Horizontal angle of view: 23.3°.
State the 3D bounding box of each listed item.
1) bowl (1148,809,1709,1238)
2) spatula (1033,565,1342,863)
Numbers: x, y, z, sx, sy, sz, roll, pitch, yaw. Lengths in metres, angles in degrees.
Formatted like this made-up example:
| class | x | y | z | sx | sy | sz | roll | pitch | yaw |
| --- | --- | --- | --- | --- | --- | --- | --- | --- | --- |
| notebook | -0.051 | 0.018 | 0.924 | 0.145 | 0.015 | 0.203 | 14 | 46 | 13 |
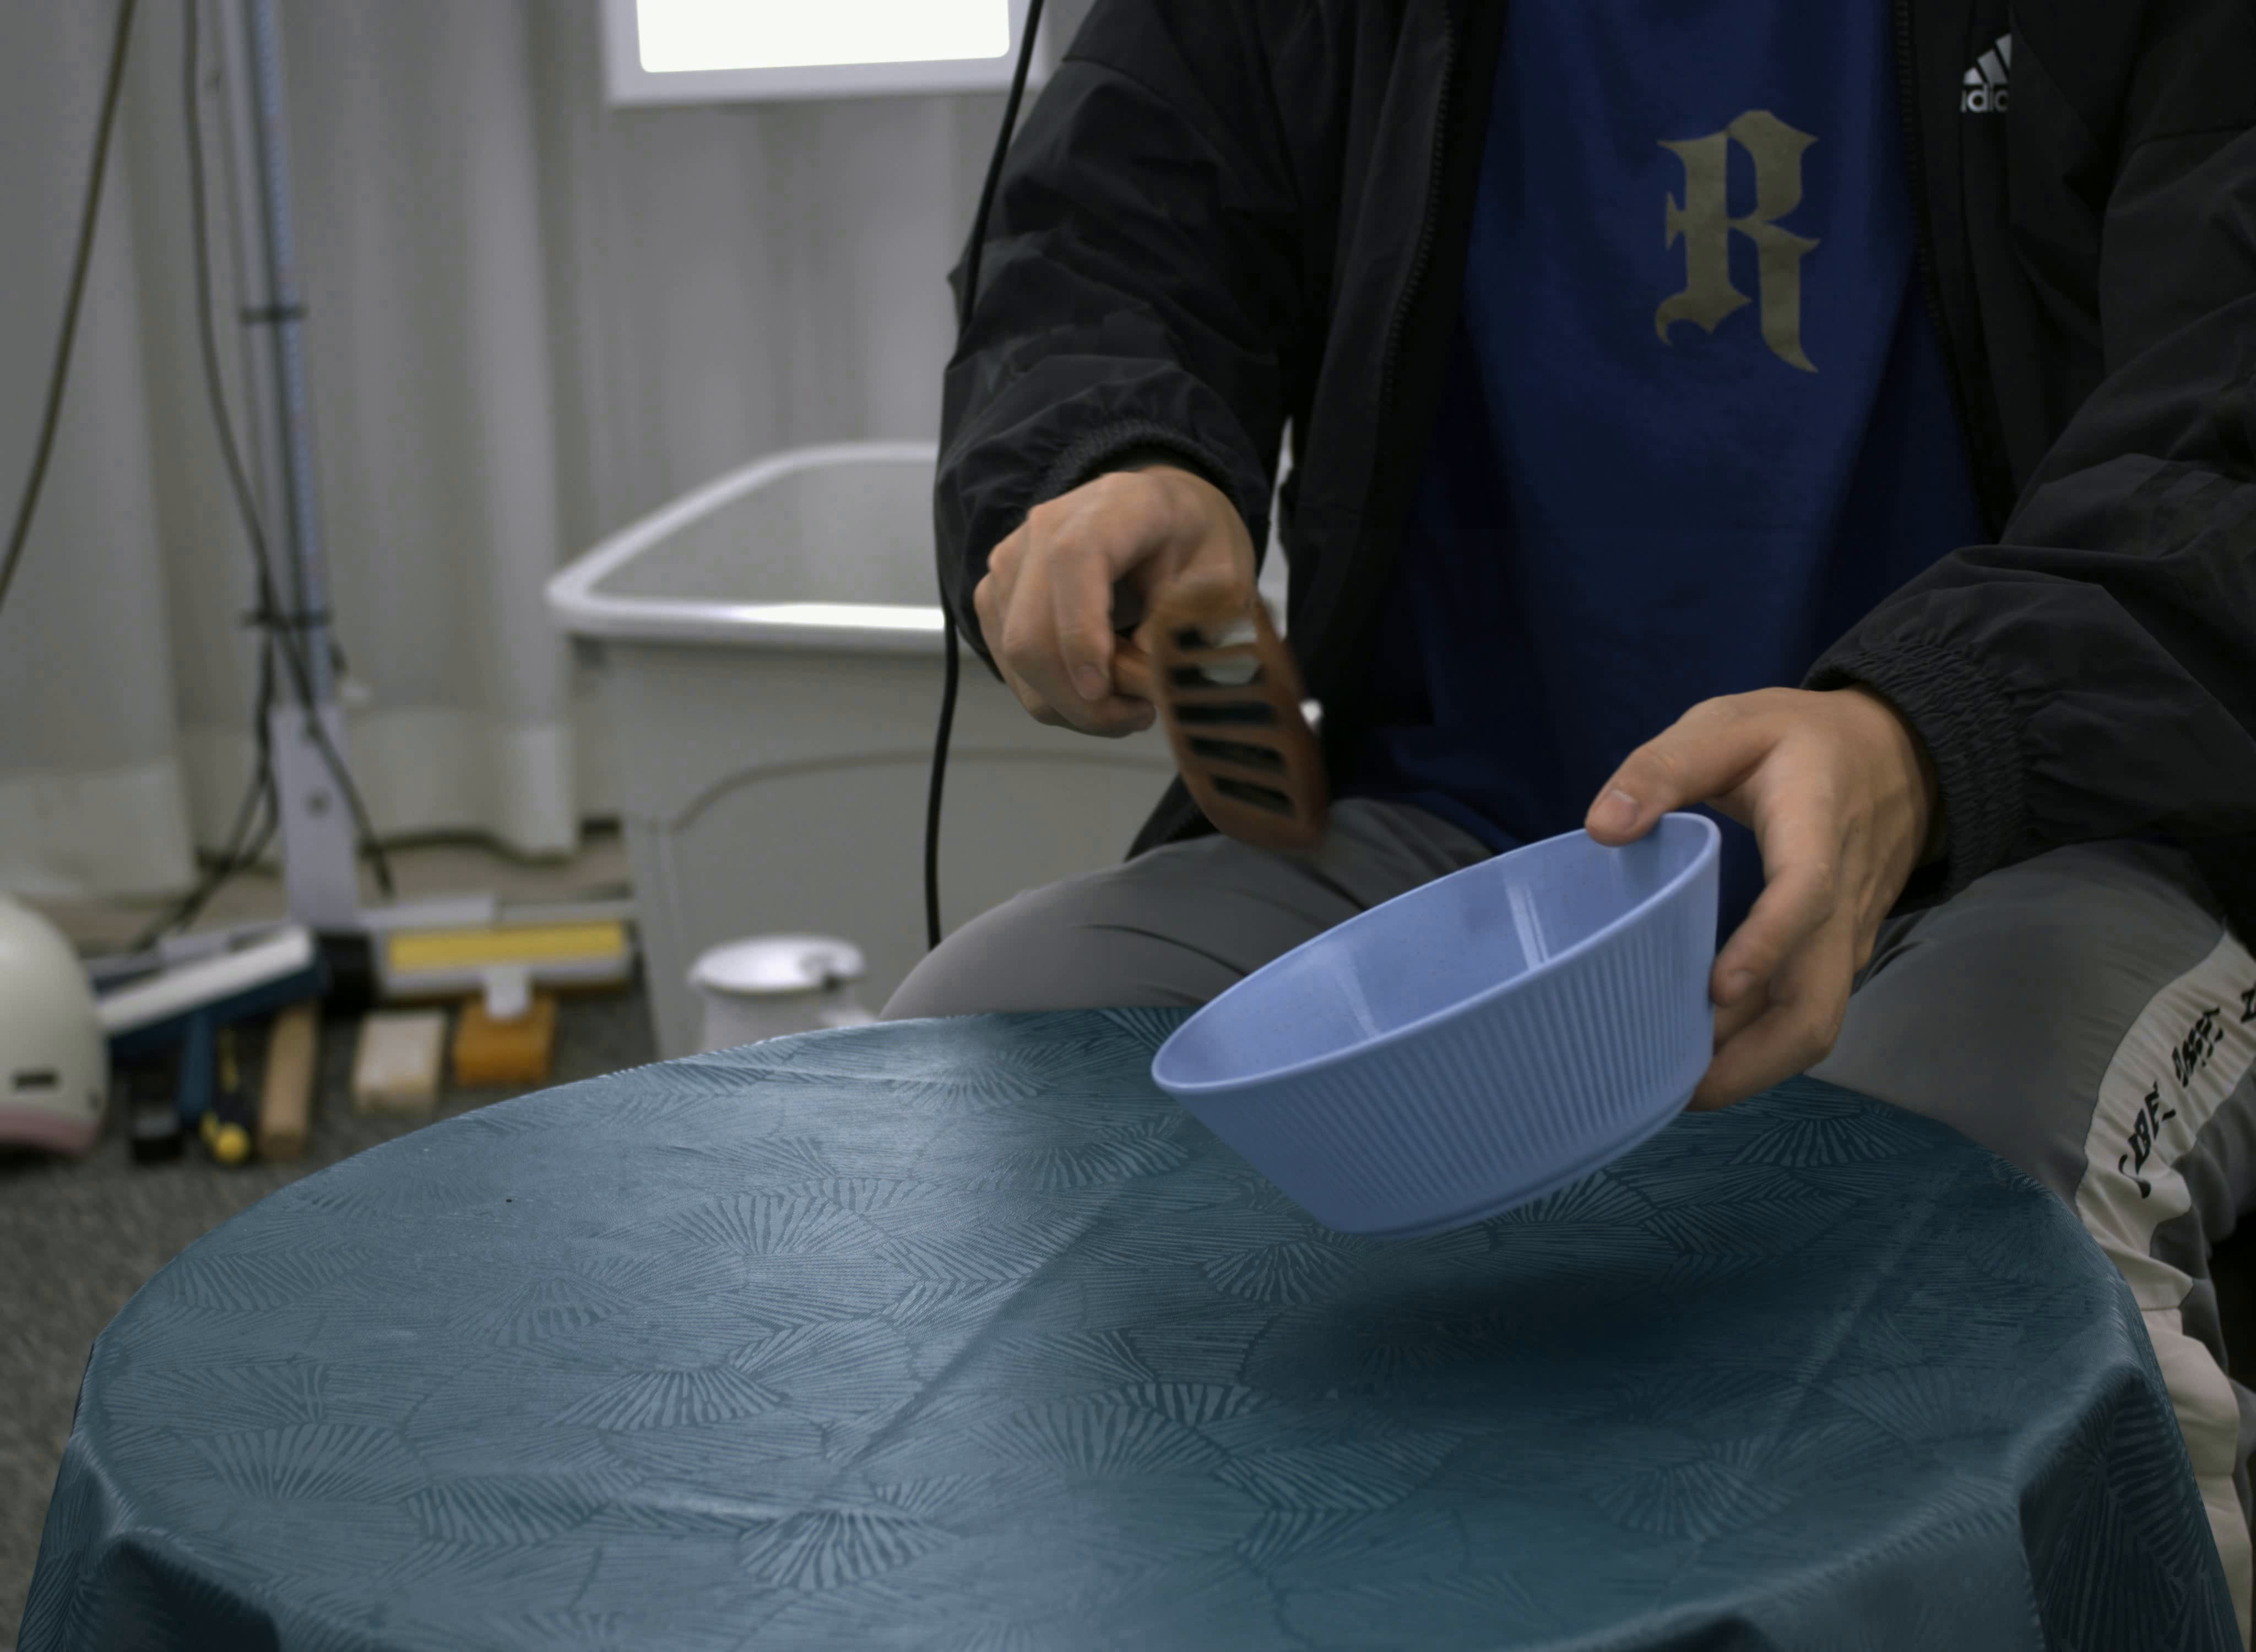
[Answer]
| class | x | y | z | sx | sy | sz | roll | pitch | yaw |
| --- | --- | --- | --- | --- | --- | --- | --- | --- | --- |
| bowl | 0.097 | 0.063 | 1.558 | 0.175 | 0.070 | 0.177 | -24 | 8 | 3 |
| spatula | 0.009 | -0.042 | 1.693 | 0.024 | 0.085 | 0.388 | -12 | 6 | -10 |
